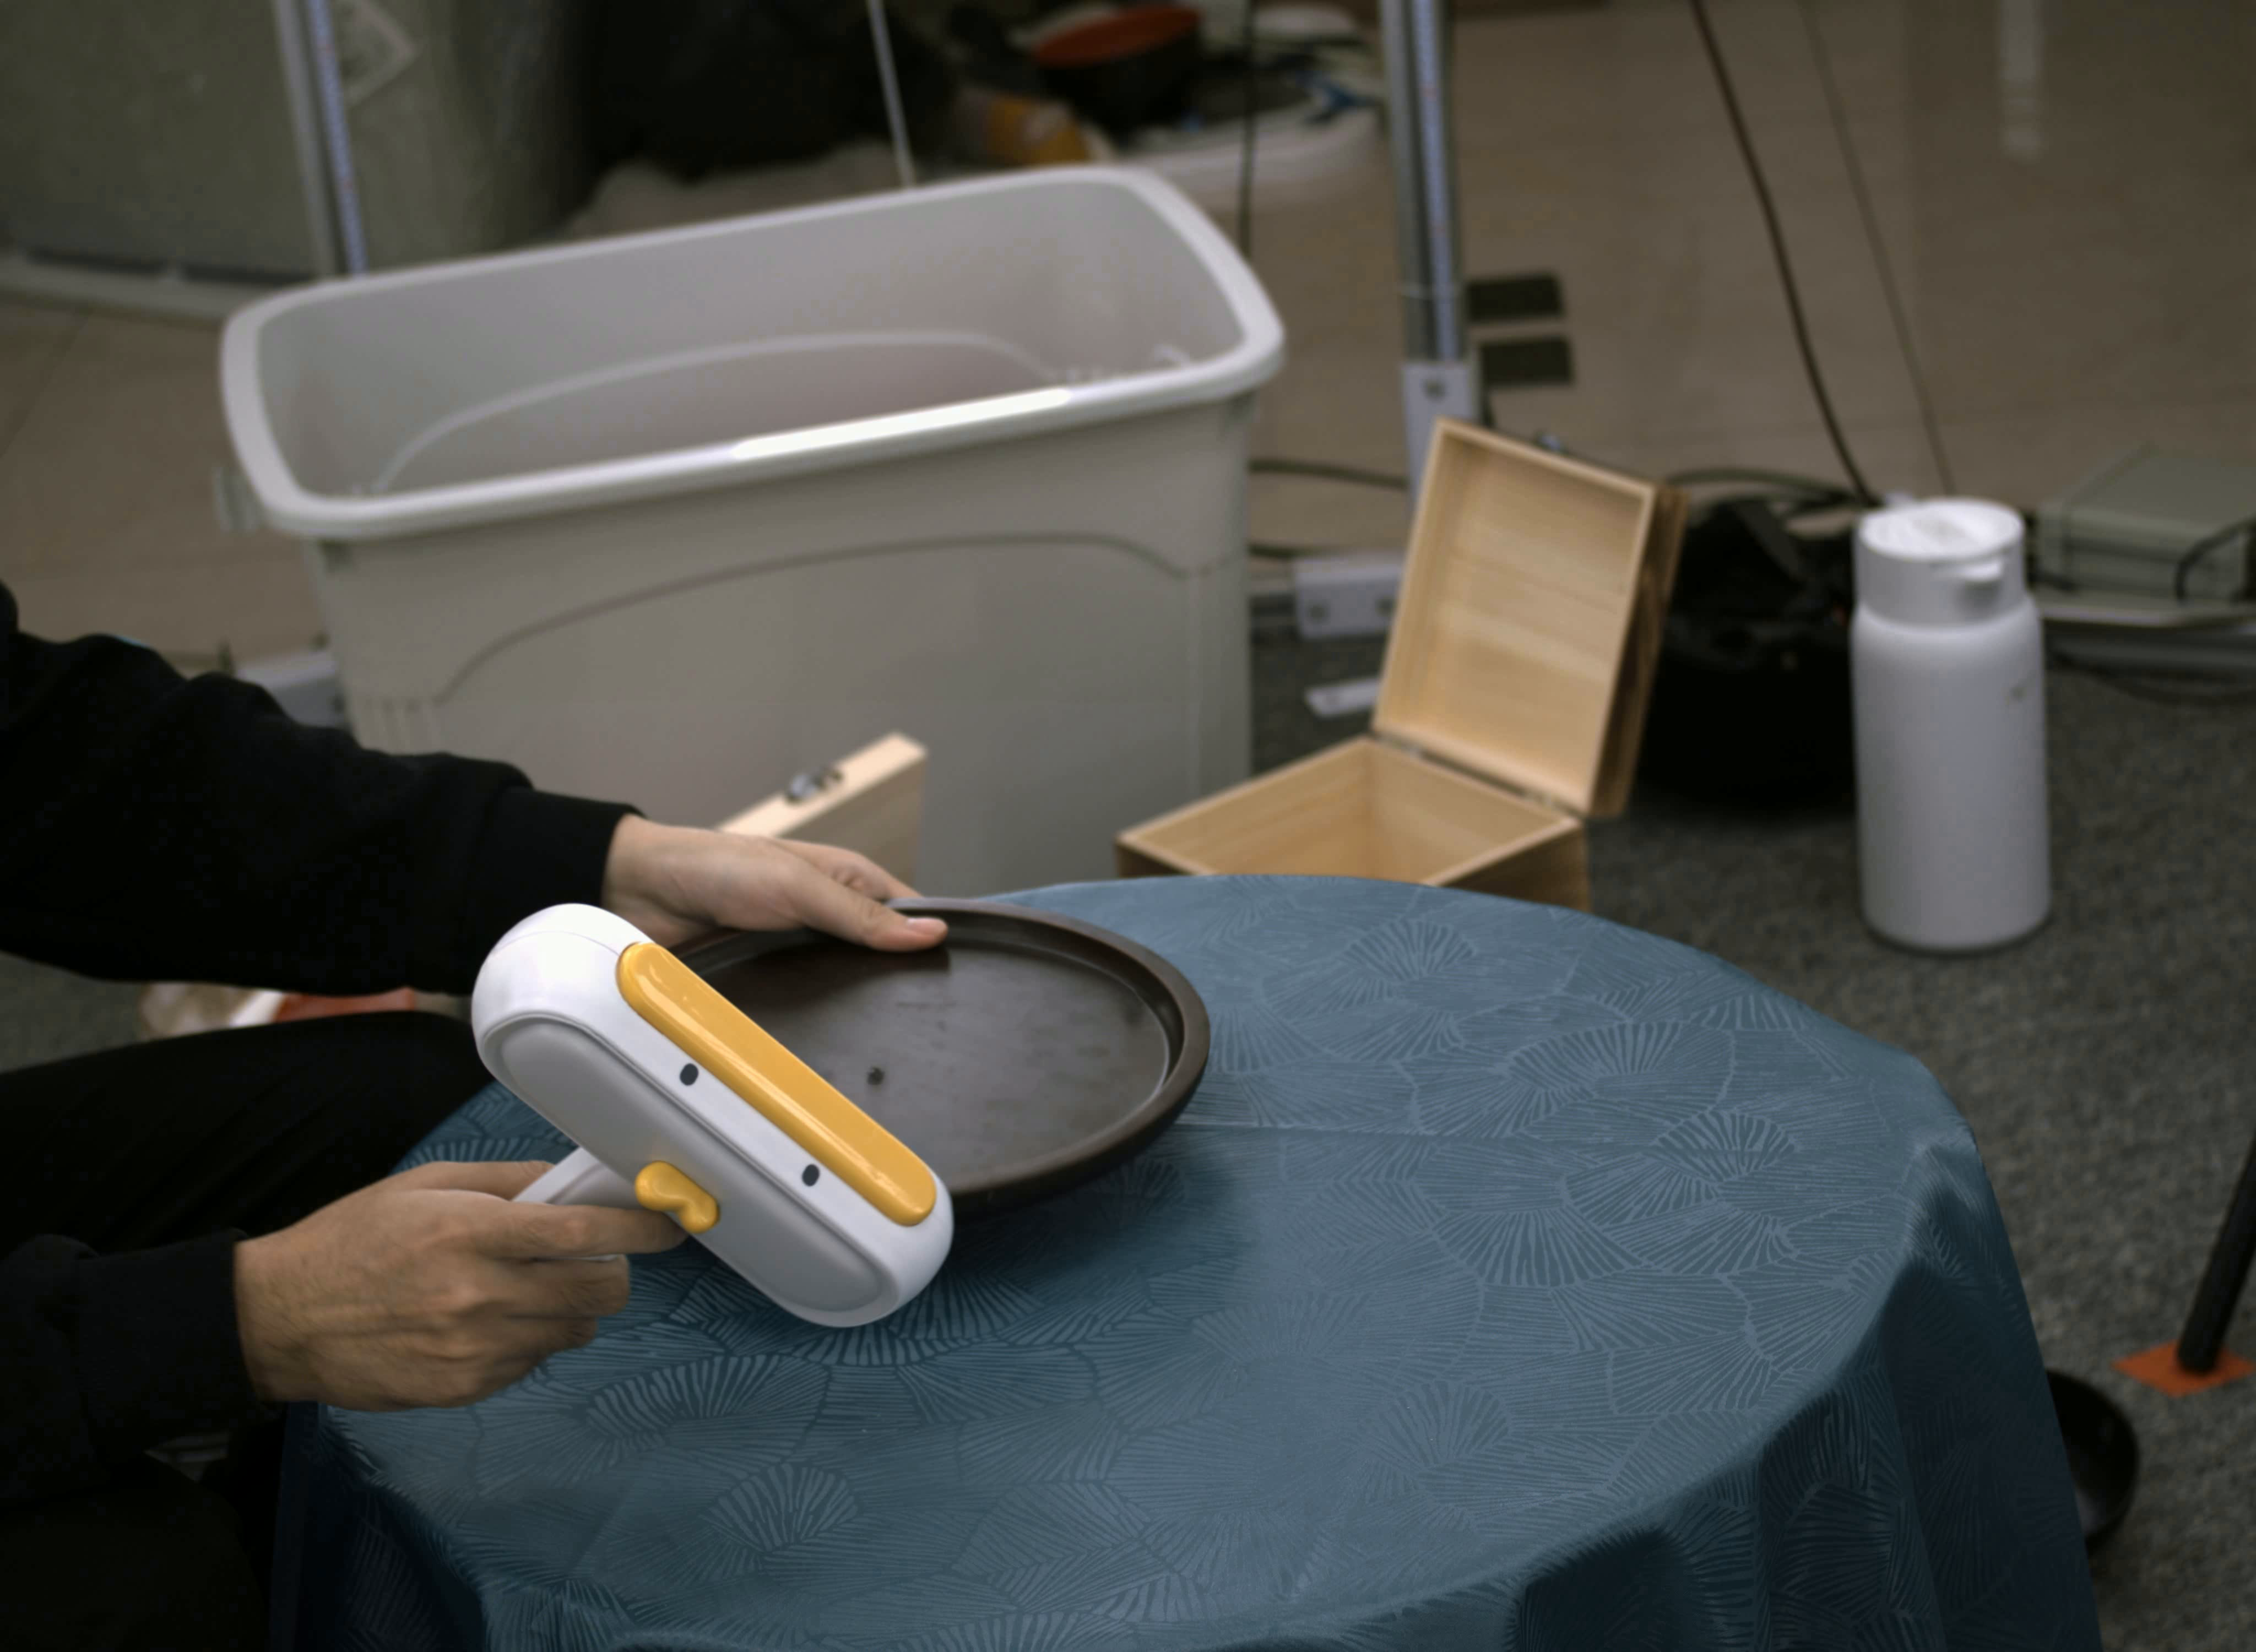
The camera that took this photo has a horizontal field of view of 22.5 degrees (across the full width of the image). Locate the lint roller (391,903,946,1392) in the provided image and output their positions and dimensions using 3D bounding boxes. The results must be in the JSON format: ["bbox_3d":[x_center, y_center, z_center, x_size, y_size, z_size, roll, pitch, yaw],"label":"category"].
[{"bbox_3d":[-0.184,0.129,1.944,0.194,0.194,0.073,-35,33,37],"label":"lint roller"}]

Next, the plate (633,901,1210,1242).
[{"bbox_3d":[-0.094,0.093,2.176,0.254,0.029,0.251,-3,26,2],"label":"plate"}]
